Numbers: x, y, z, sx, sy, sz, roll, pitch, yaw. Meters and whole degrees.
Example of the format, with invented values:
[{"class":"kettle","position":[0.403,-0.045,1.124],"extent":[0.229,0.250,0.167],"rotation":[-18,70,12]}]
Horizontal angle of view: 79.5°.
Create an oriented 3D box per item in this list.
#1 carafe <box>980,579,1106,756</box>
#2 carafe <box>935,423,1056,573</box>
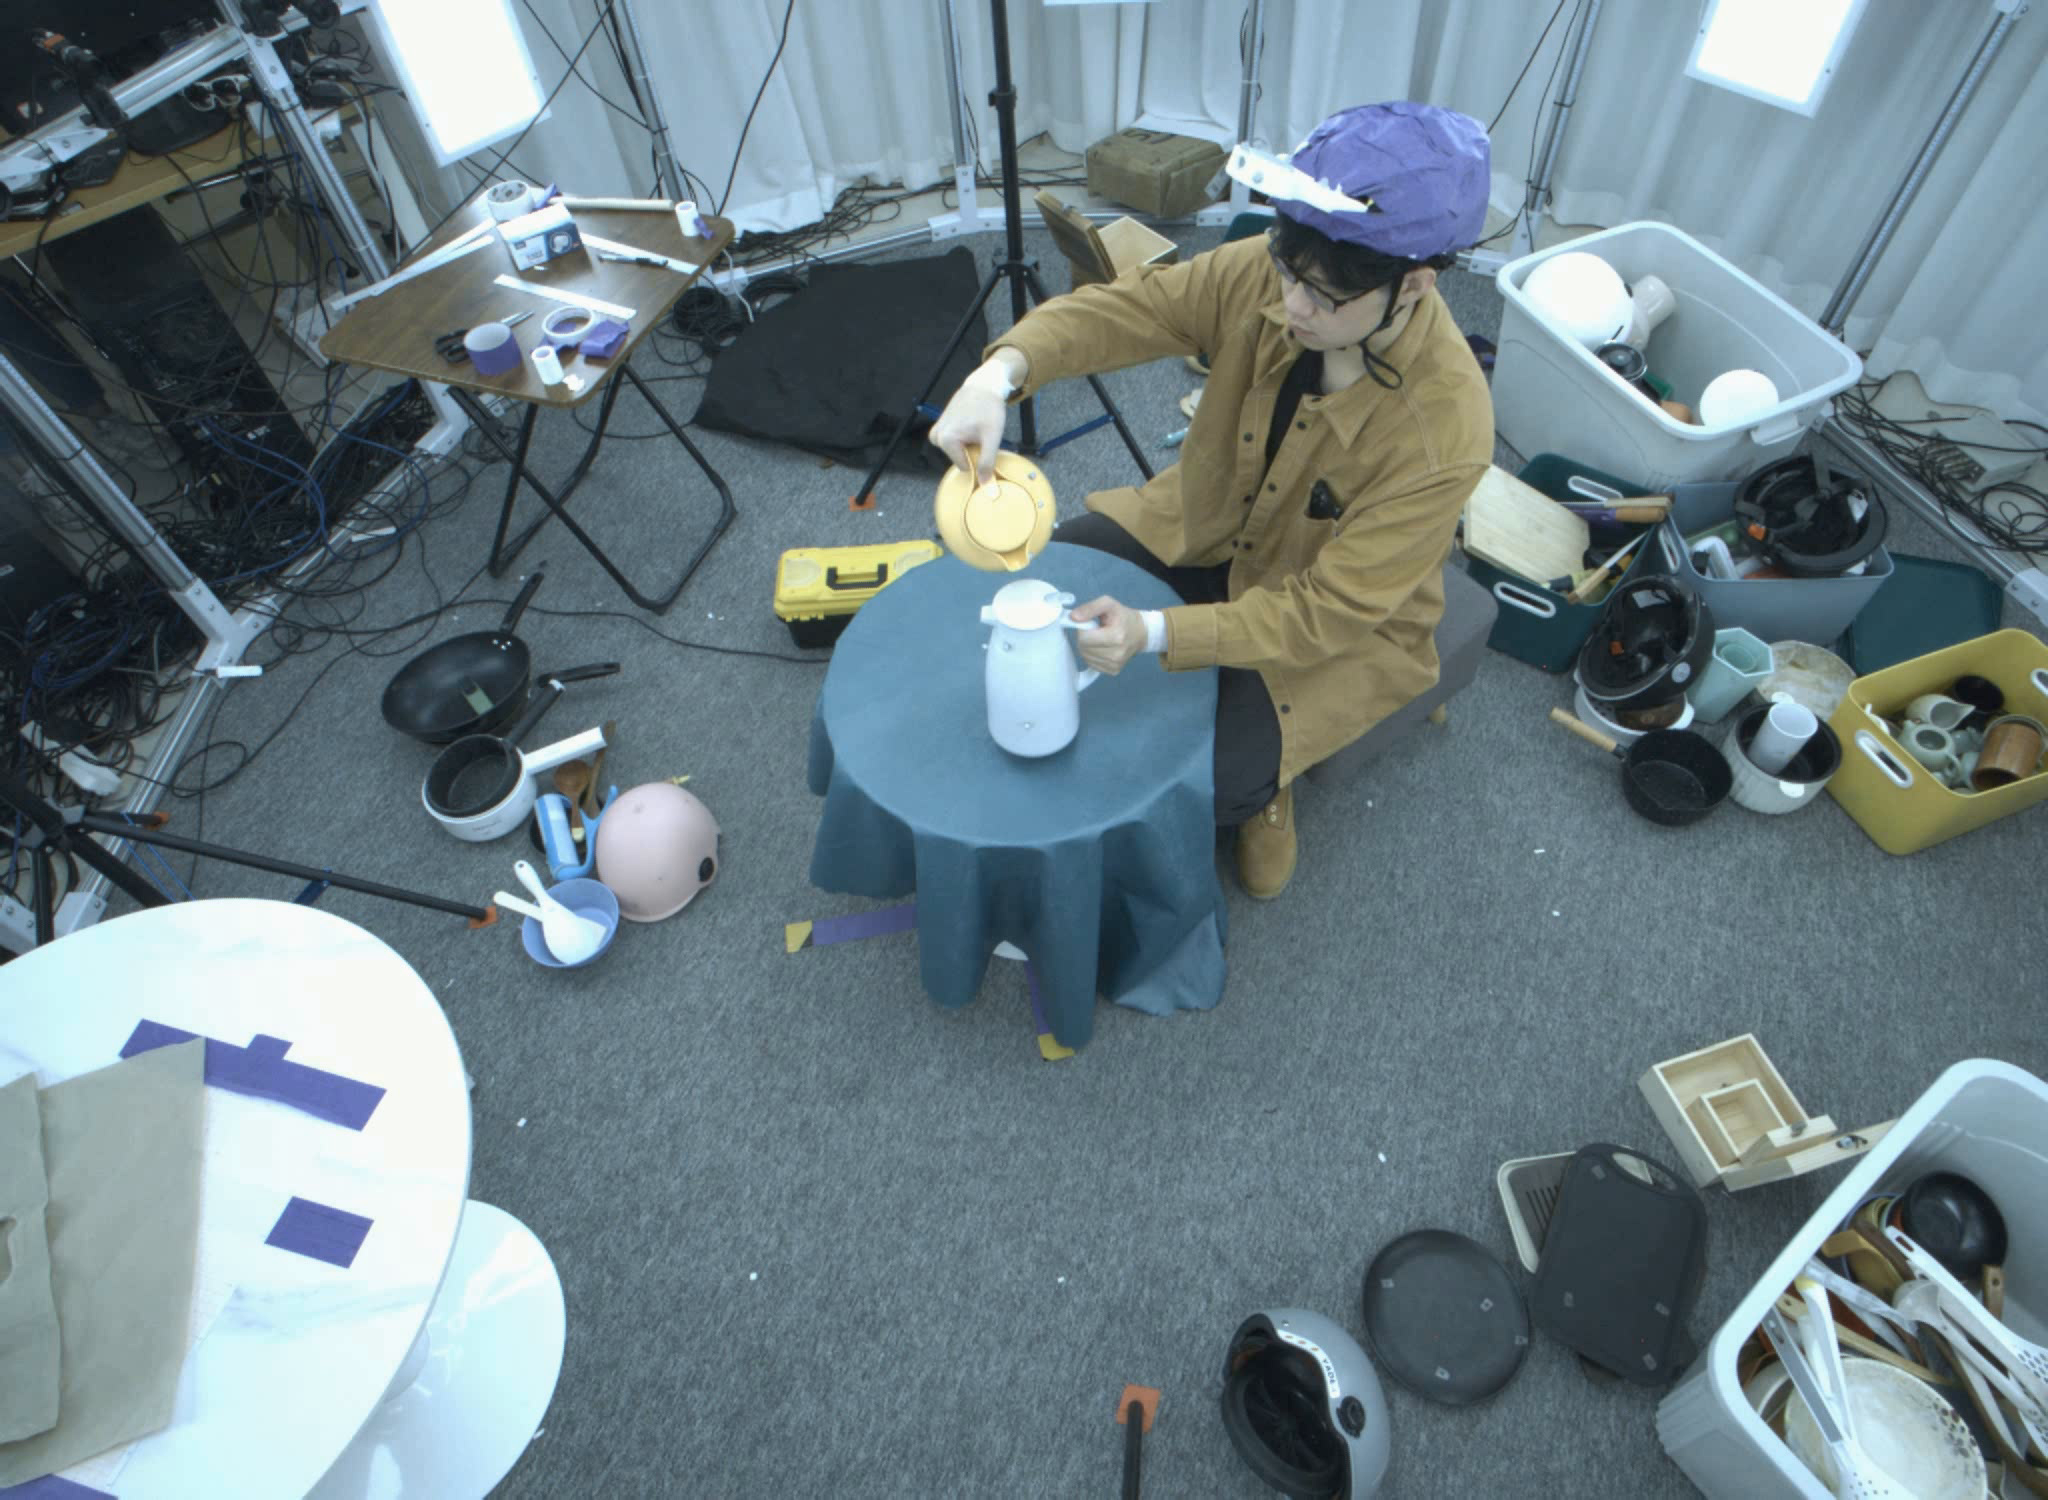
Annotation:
[{"class":"carafe","position":[0.027,-0.119,1.678],"extent":[0.168,0.251,0.131],"rotation":[-1,52,0]},{"class":"carafe","position":[-0.043,-0.342,1.632],"extent":[0.163,0.204,0.257],"rotation":[-18,18,-1]}]
